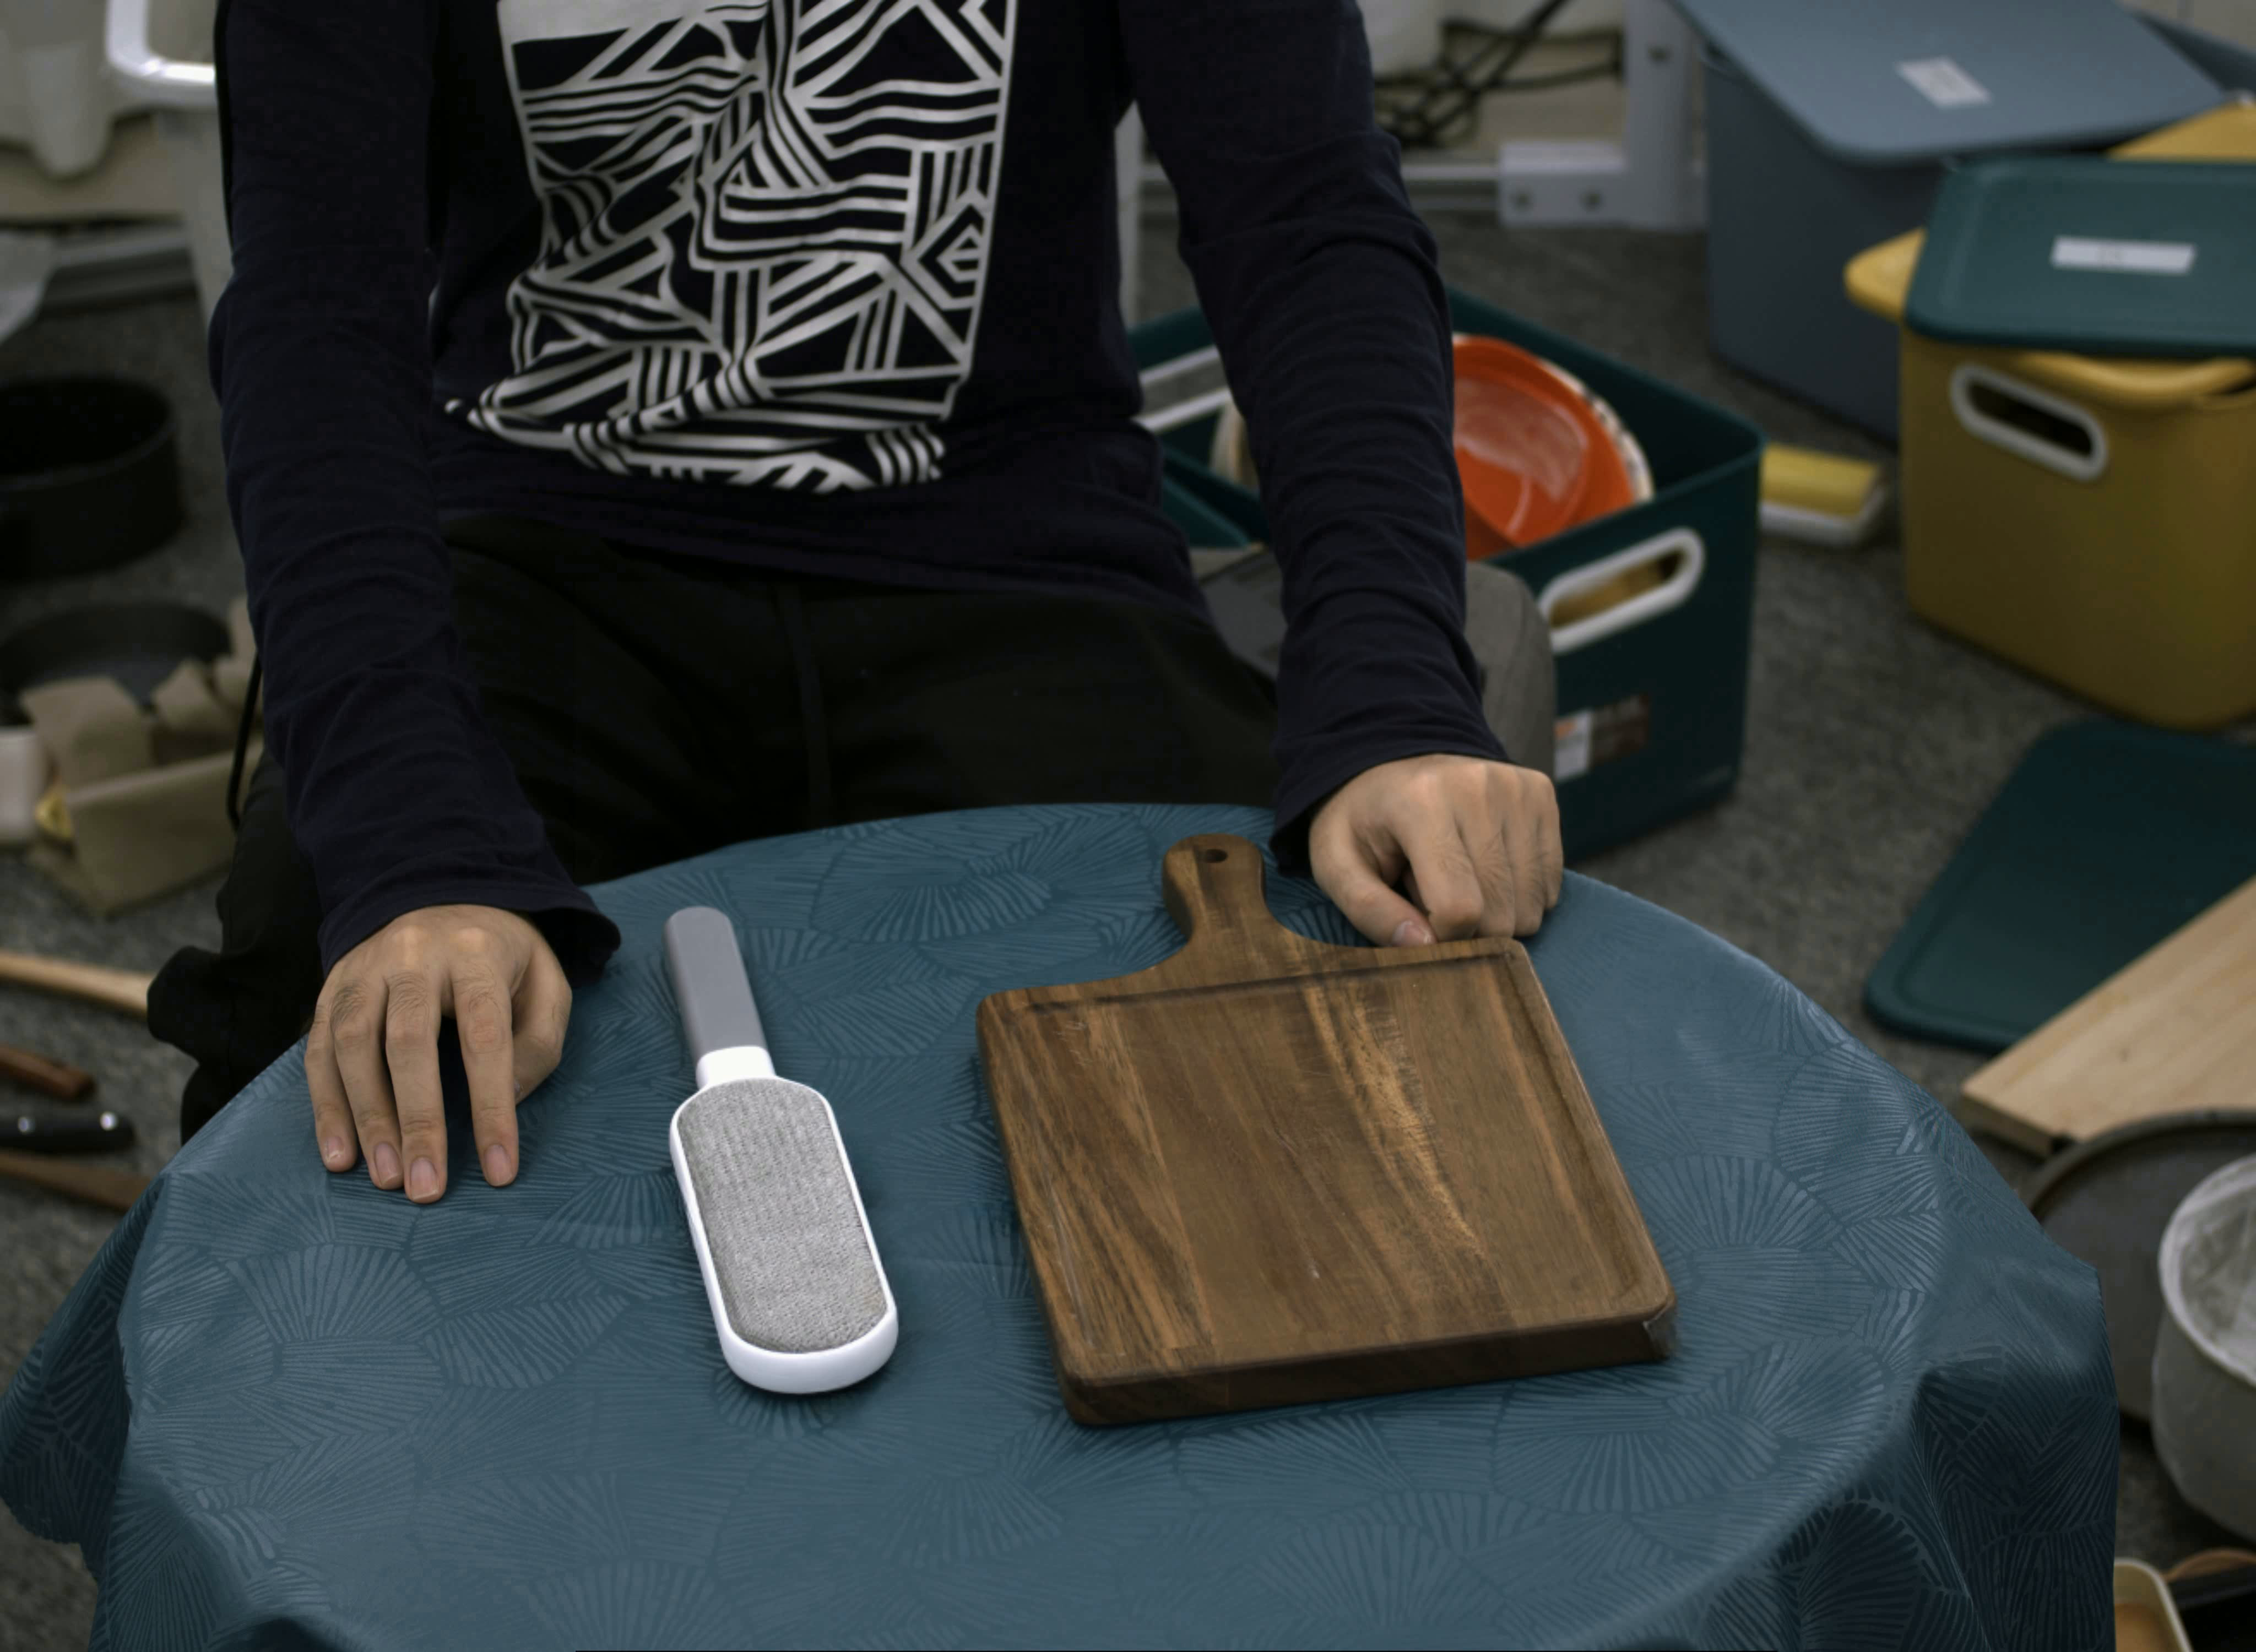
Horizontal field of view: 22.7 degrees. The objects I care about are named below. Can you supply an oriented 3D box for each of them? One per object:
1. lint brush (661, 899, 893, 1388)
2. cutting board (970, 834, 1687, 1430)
[{"bbox_3d":[-0.125,0.101,1.884,0.060,0.021,0.312,-12,28,-6],"label":"lint brush"},{"bbox_3d":[0.053,0.090,1.896,0.200,0.023,0.356,-6,27,-6],"label":"cutting board"}]
